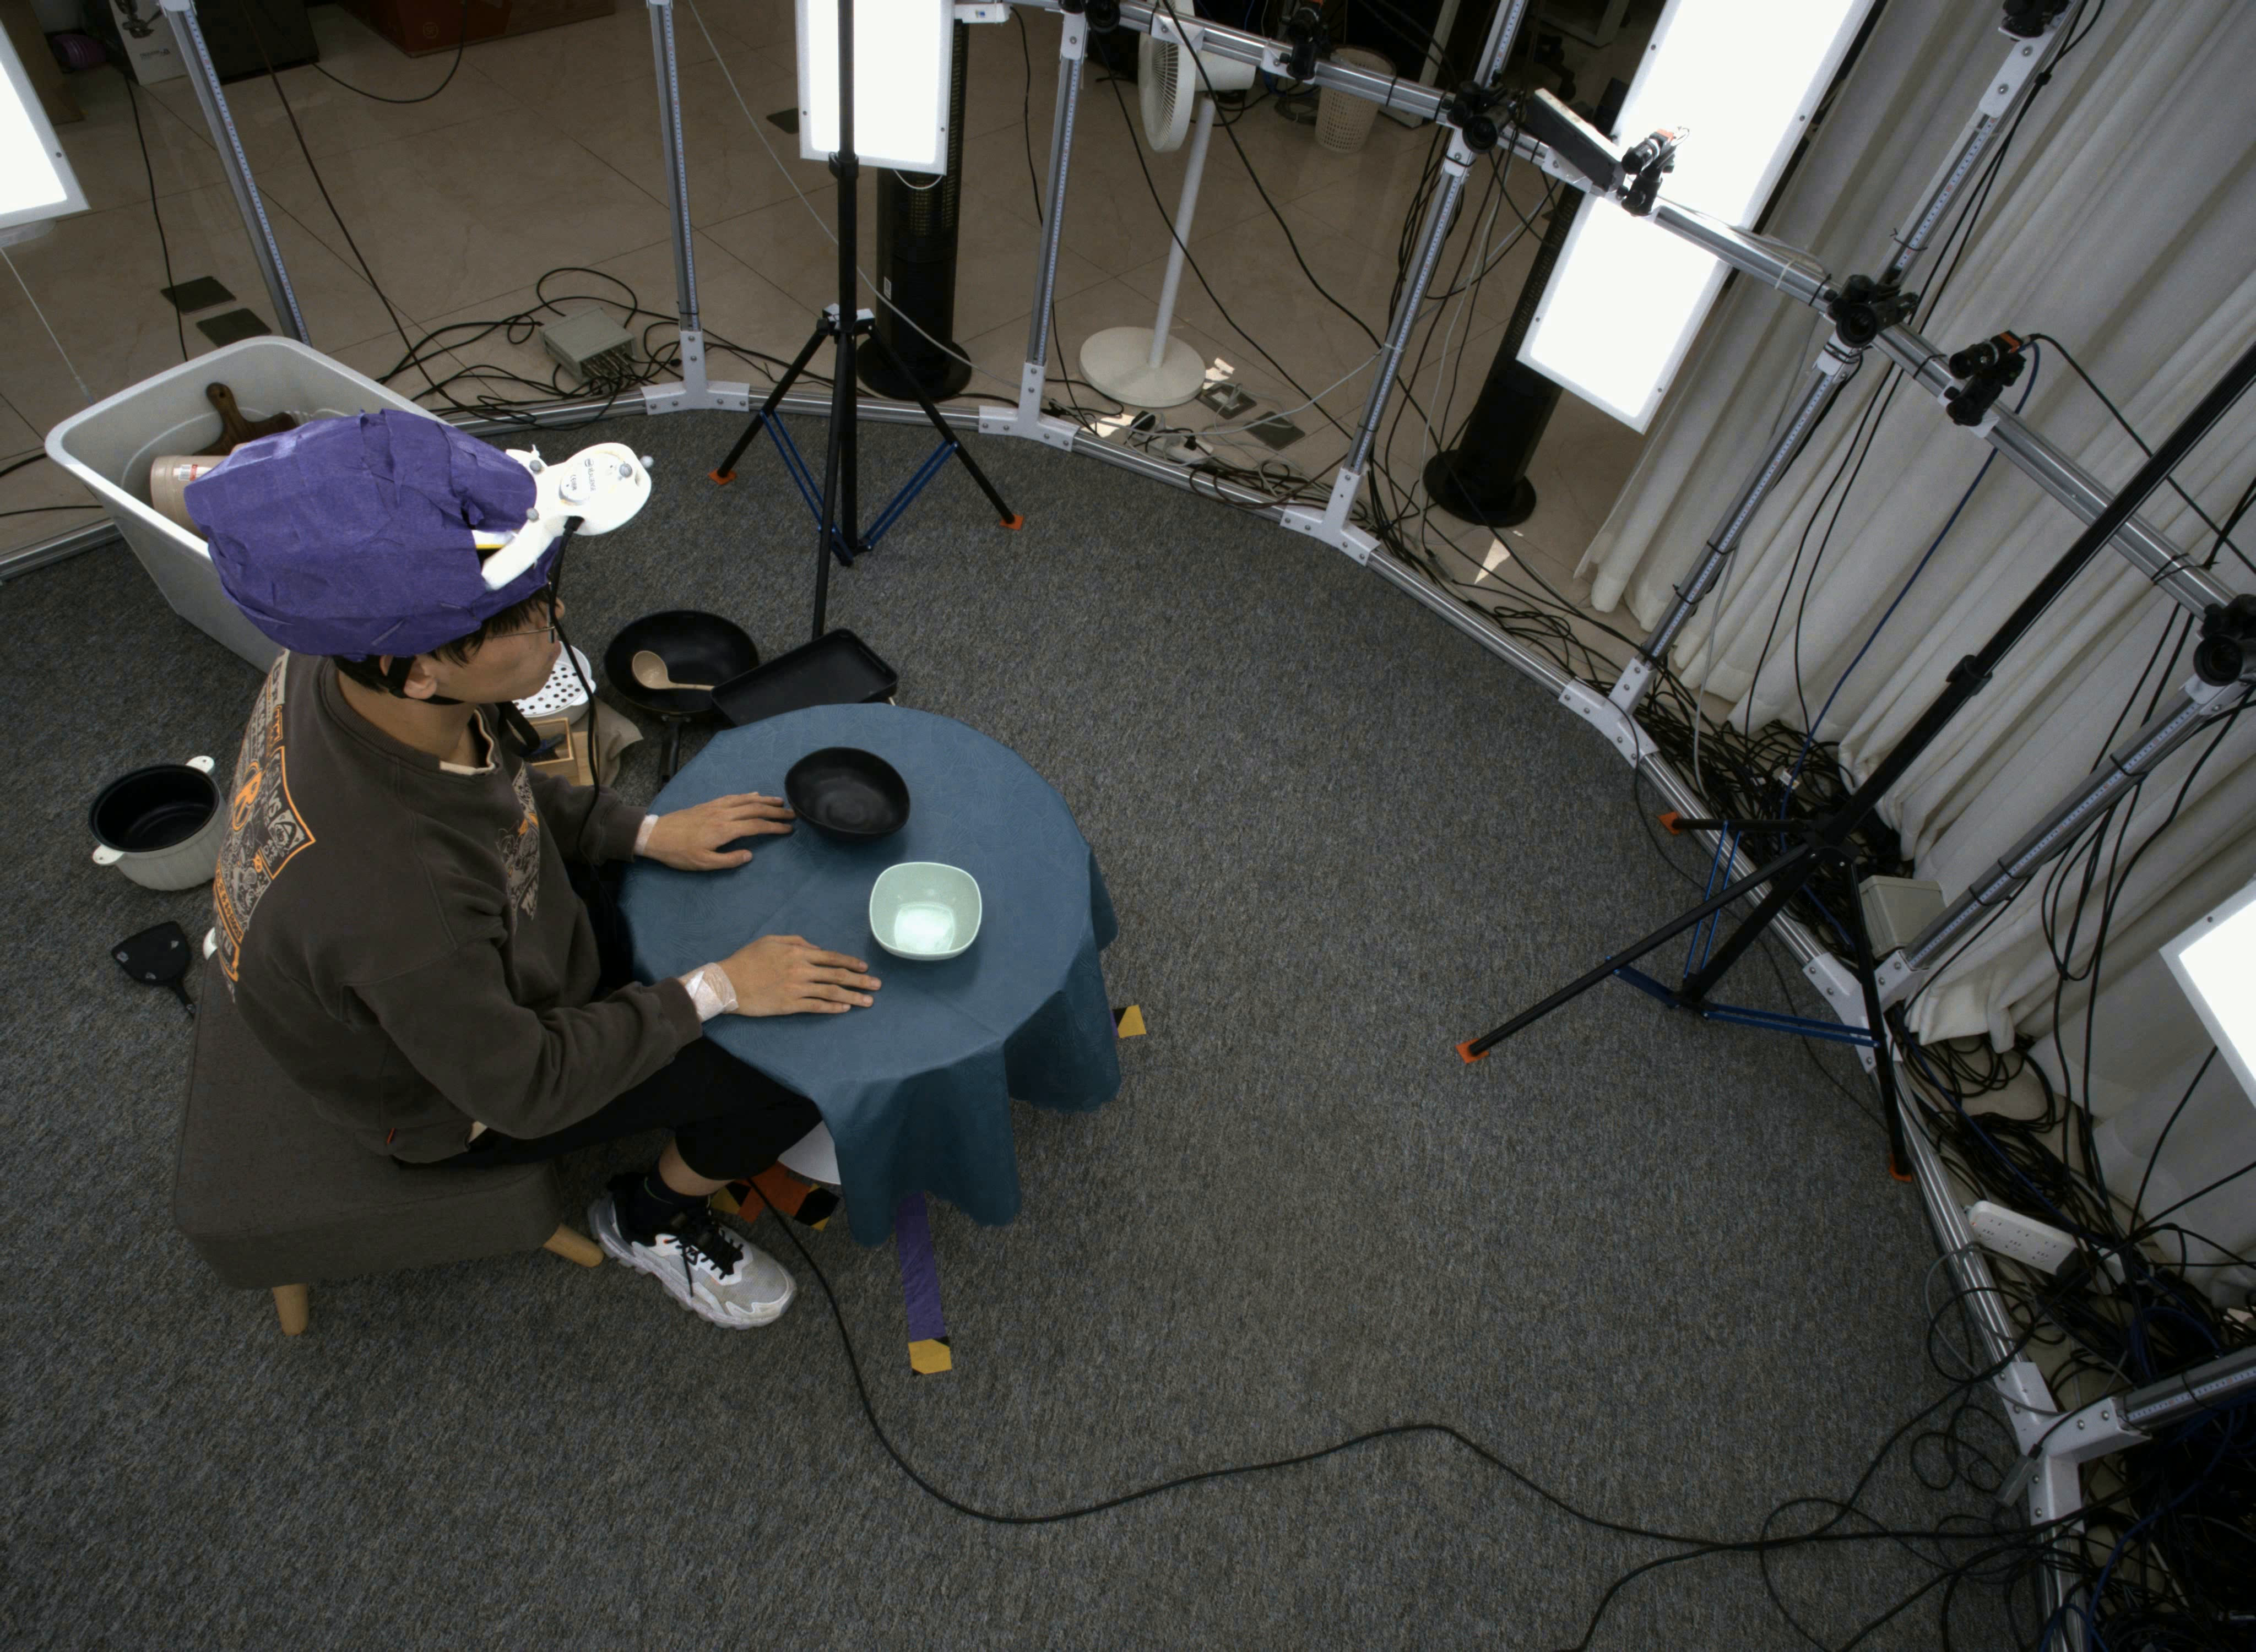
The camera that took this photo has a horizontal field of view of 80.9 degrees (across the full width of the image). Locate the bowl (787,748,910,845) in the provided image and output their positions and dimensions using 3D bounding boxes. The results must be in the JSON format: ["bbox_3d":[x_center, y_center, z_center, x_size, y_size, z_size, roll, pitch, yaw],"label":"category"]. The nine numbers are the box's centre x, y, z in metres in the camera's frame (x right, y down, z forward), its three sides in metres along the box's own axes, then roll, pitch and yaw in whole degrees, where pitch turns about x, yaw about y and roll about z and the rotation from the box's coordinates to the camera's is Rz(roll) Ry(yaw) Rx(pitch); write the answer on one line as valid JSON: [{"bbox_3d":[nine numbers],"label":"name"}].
[{"bbox_3d":[-0.372,-0.030,1.733,0.168,0.068,0.136,22,52,2],"label":"bowl"}]

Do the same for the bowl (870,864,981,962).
[{"bbox_3d":[-0.258,0.119,1.654,0.151,0.060,0.148,8,51,-8],"label":"bowl"}]
